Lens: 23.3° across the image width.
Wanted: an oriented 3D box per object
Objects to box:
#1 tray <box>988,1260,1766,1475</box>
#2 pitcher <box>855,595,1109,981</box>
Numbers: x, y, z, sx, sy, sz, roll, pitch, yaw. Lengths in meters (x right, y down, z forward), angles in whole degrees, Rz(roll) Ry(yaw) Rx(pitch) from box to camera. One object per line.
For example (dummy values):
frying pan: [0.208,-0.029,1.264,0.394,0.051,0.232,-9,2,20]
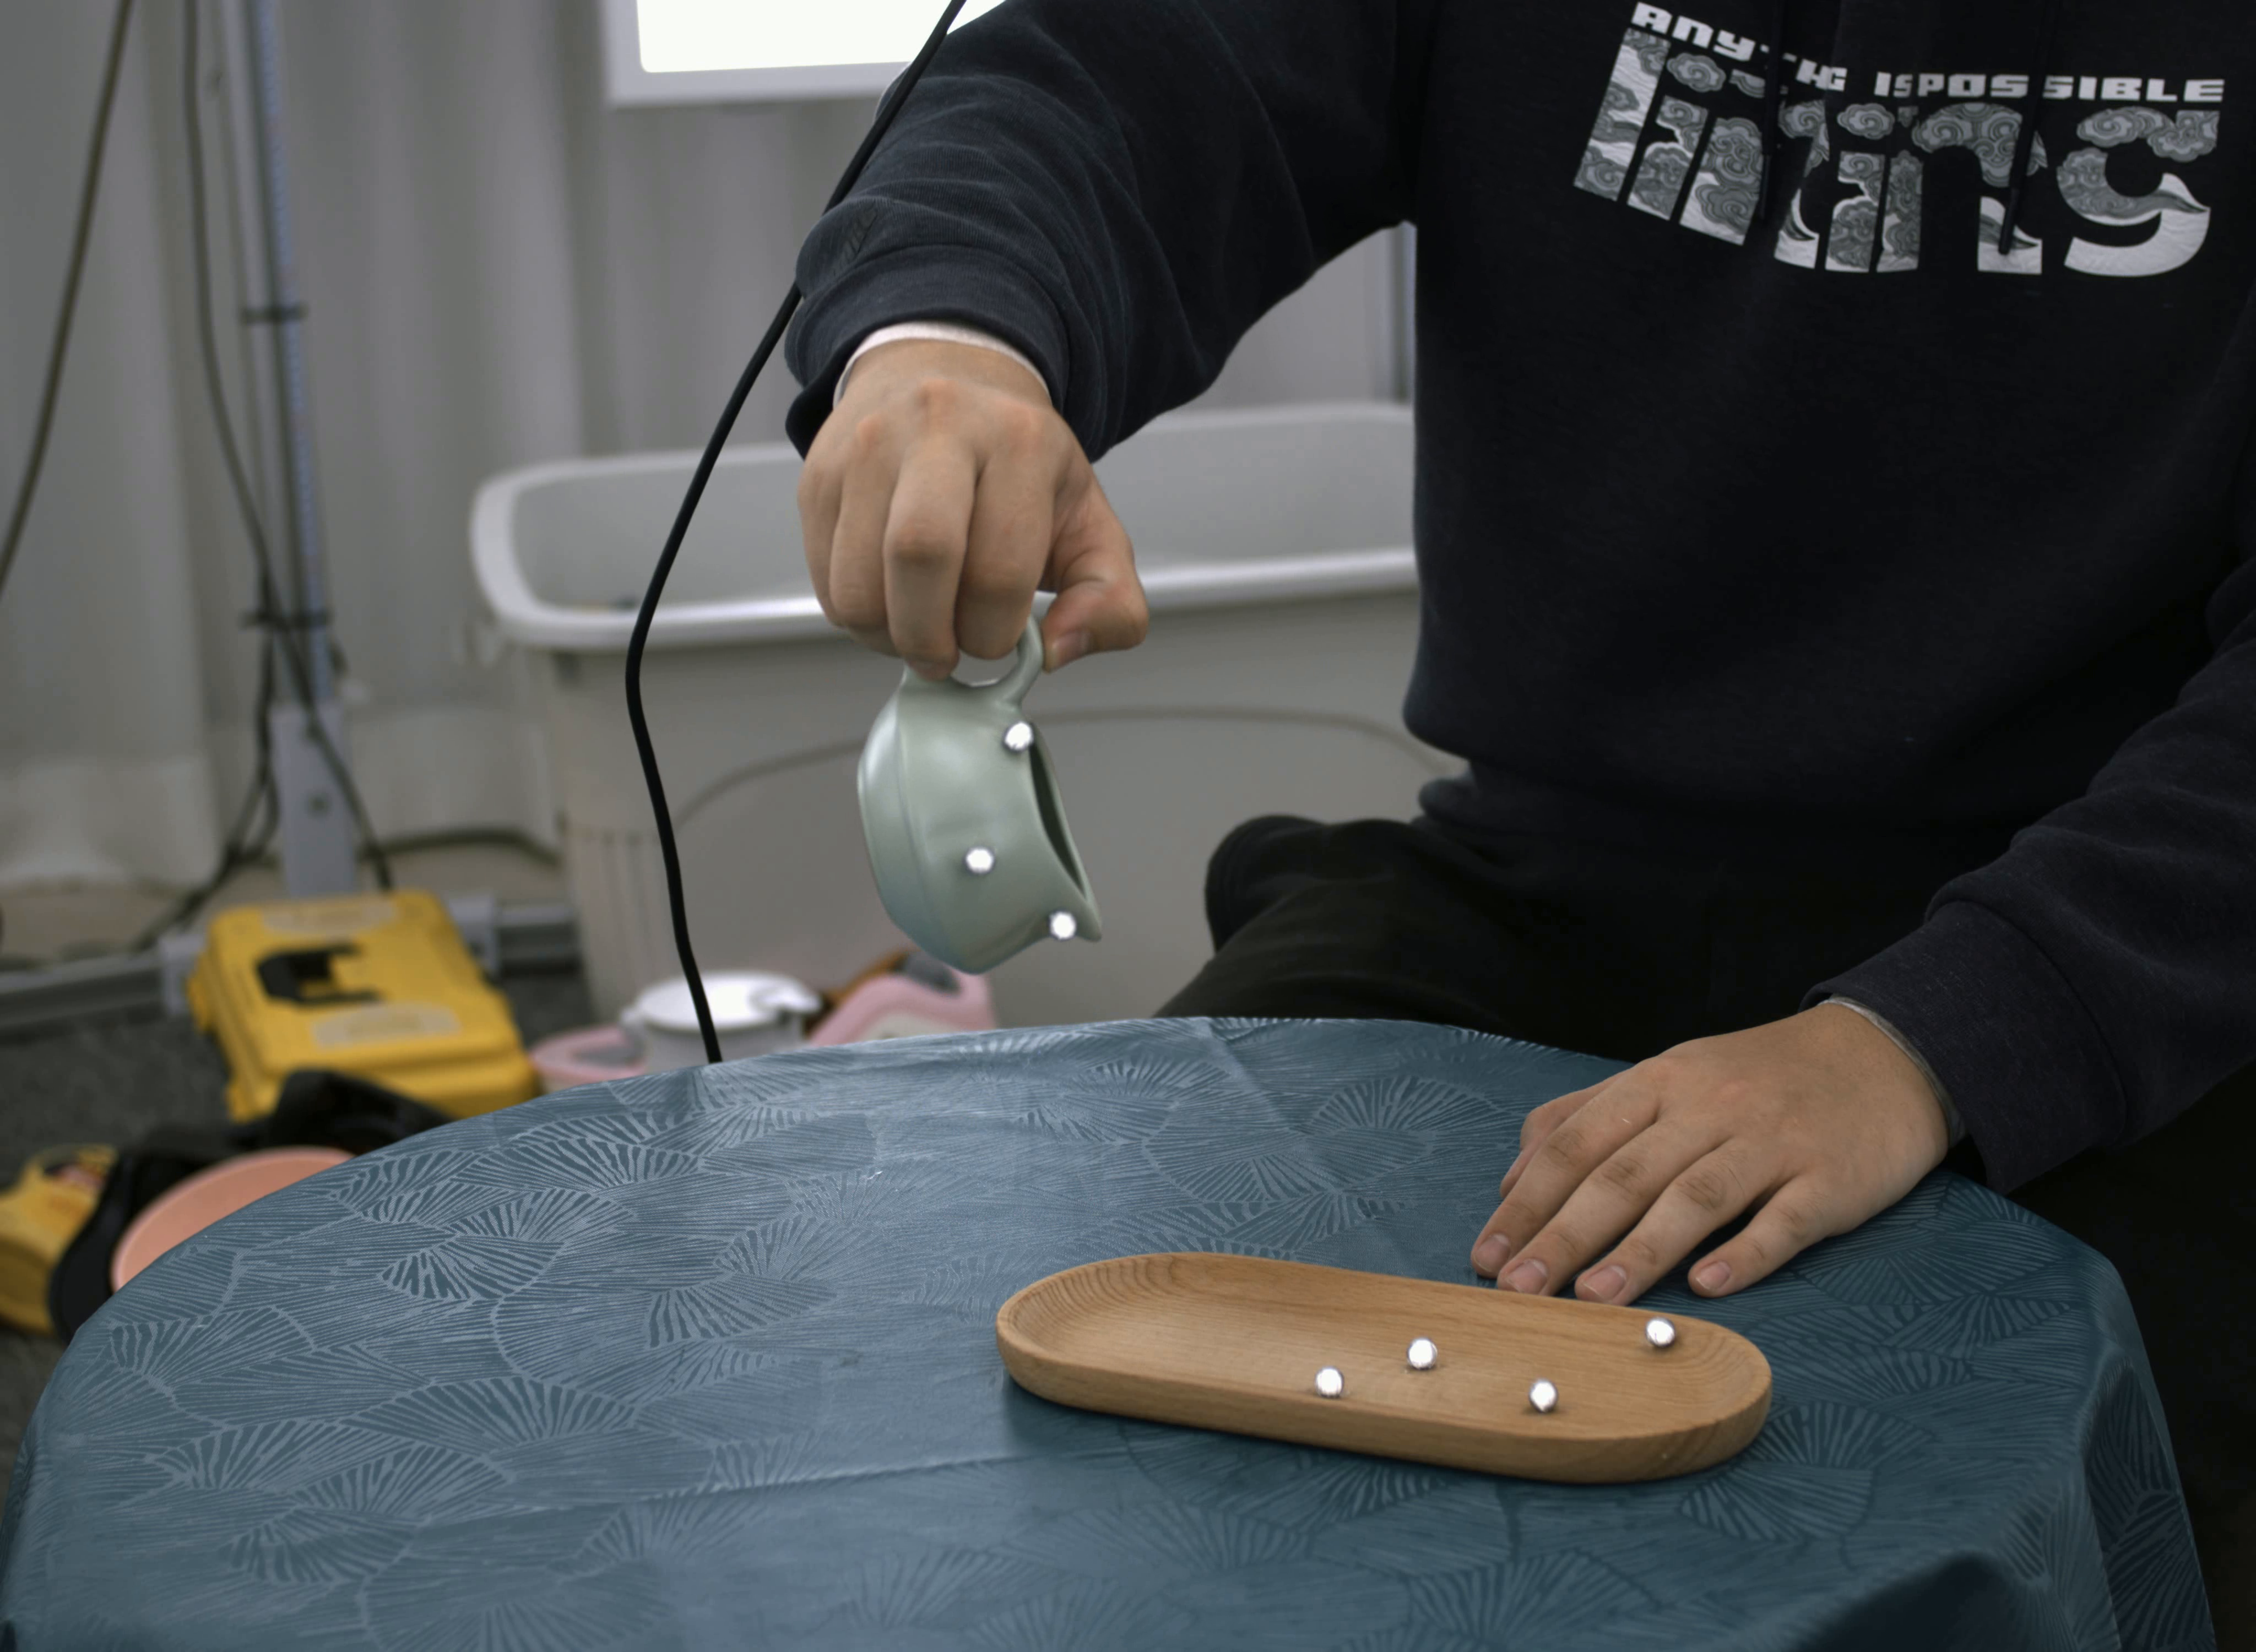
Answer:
tray: [0.068,0.152,1.537,0.231,0.020,0.102,3,14,28]
pitcher: [-0.046,-0.011,1.544,0.060,0.108,0.086,-15,9,9]
